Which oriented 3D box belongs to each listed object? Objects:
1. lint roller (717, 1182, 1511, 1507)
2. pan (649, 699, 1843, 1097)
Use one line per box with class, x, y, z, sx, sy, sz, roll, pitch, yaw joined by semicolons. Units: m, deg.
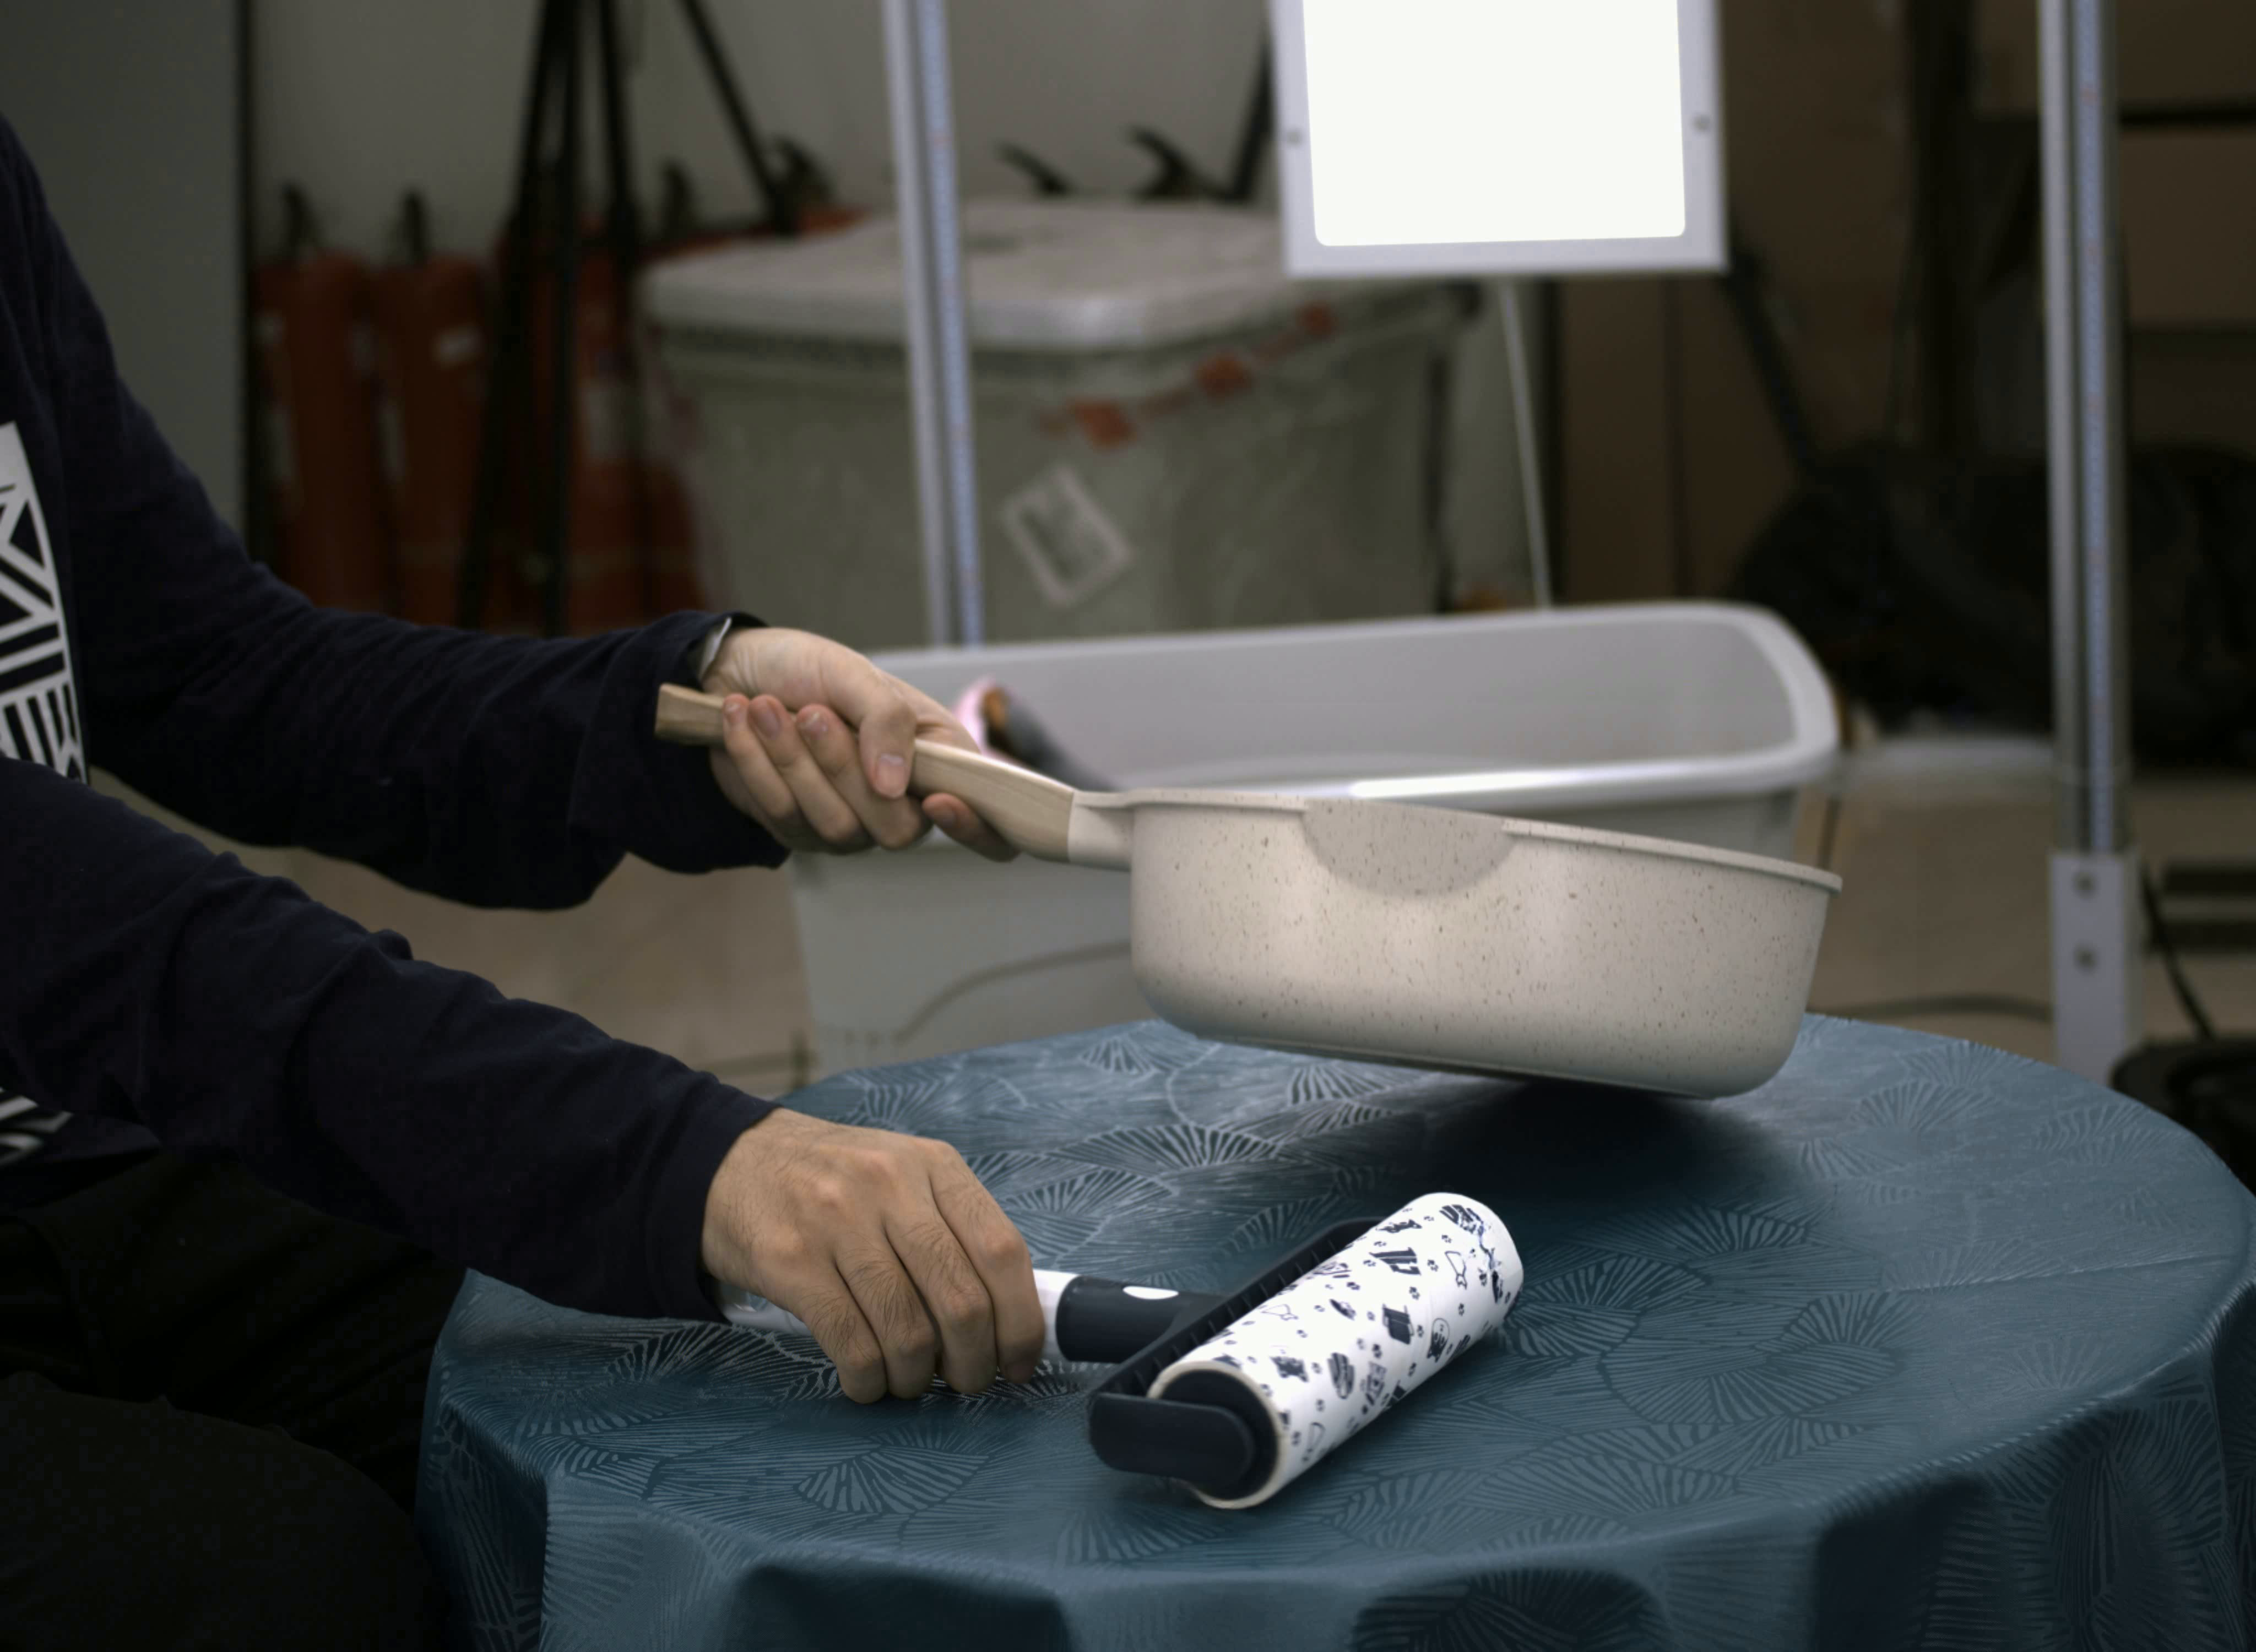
lint roller;-0.025;0.152;1.710;0.252;0.050;0.172;2;17;32
pan;0.032;0.027;1.938;0.439;0.102;0.260;6;-2;17
